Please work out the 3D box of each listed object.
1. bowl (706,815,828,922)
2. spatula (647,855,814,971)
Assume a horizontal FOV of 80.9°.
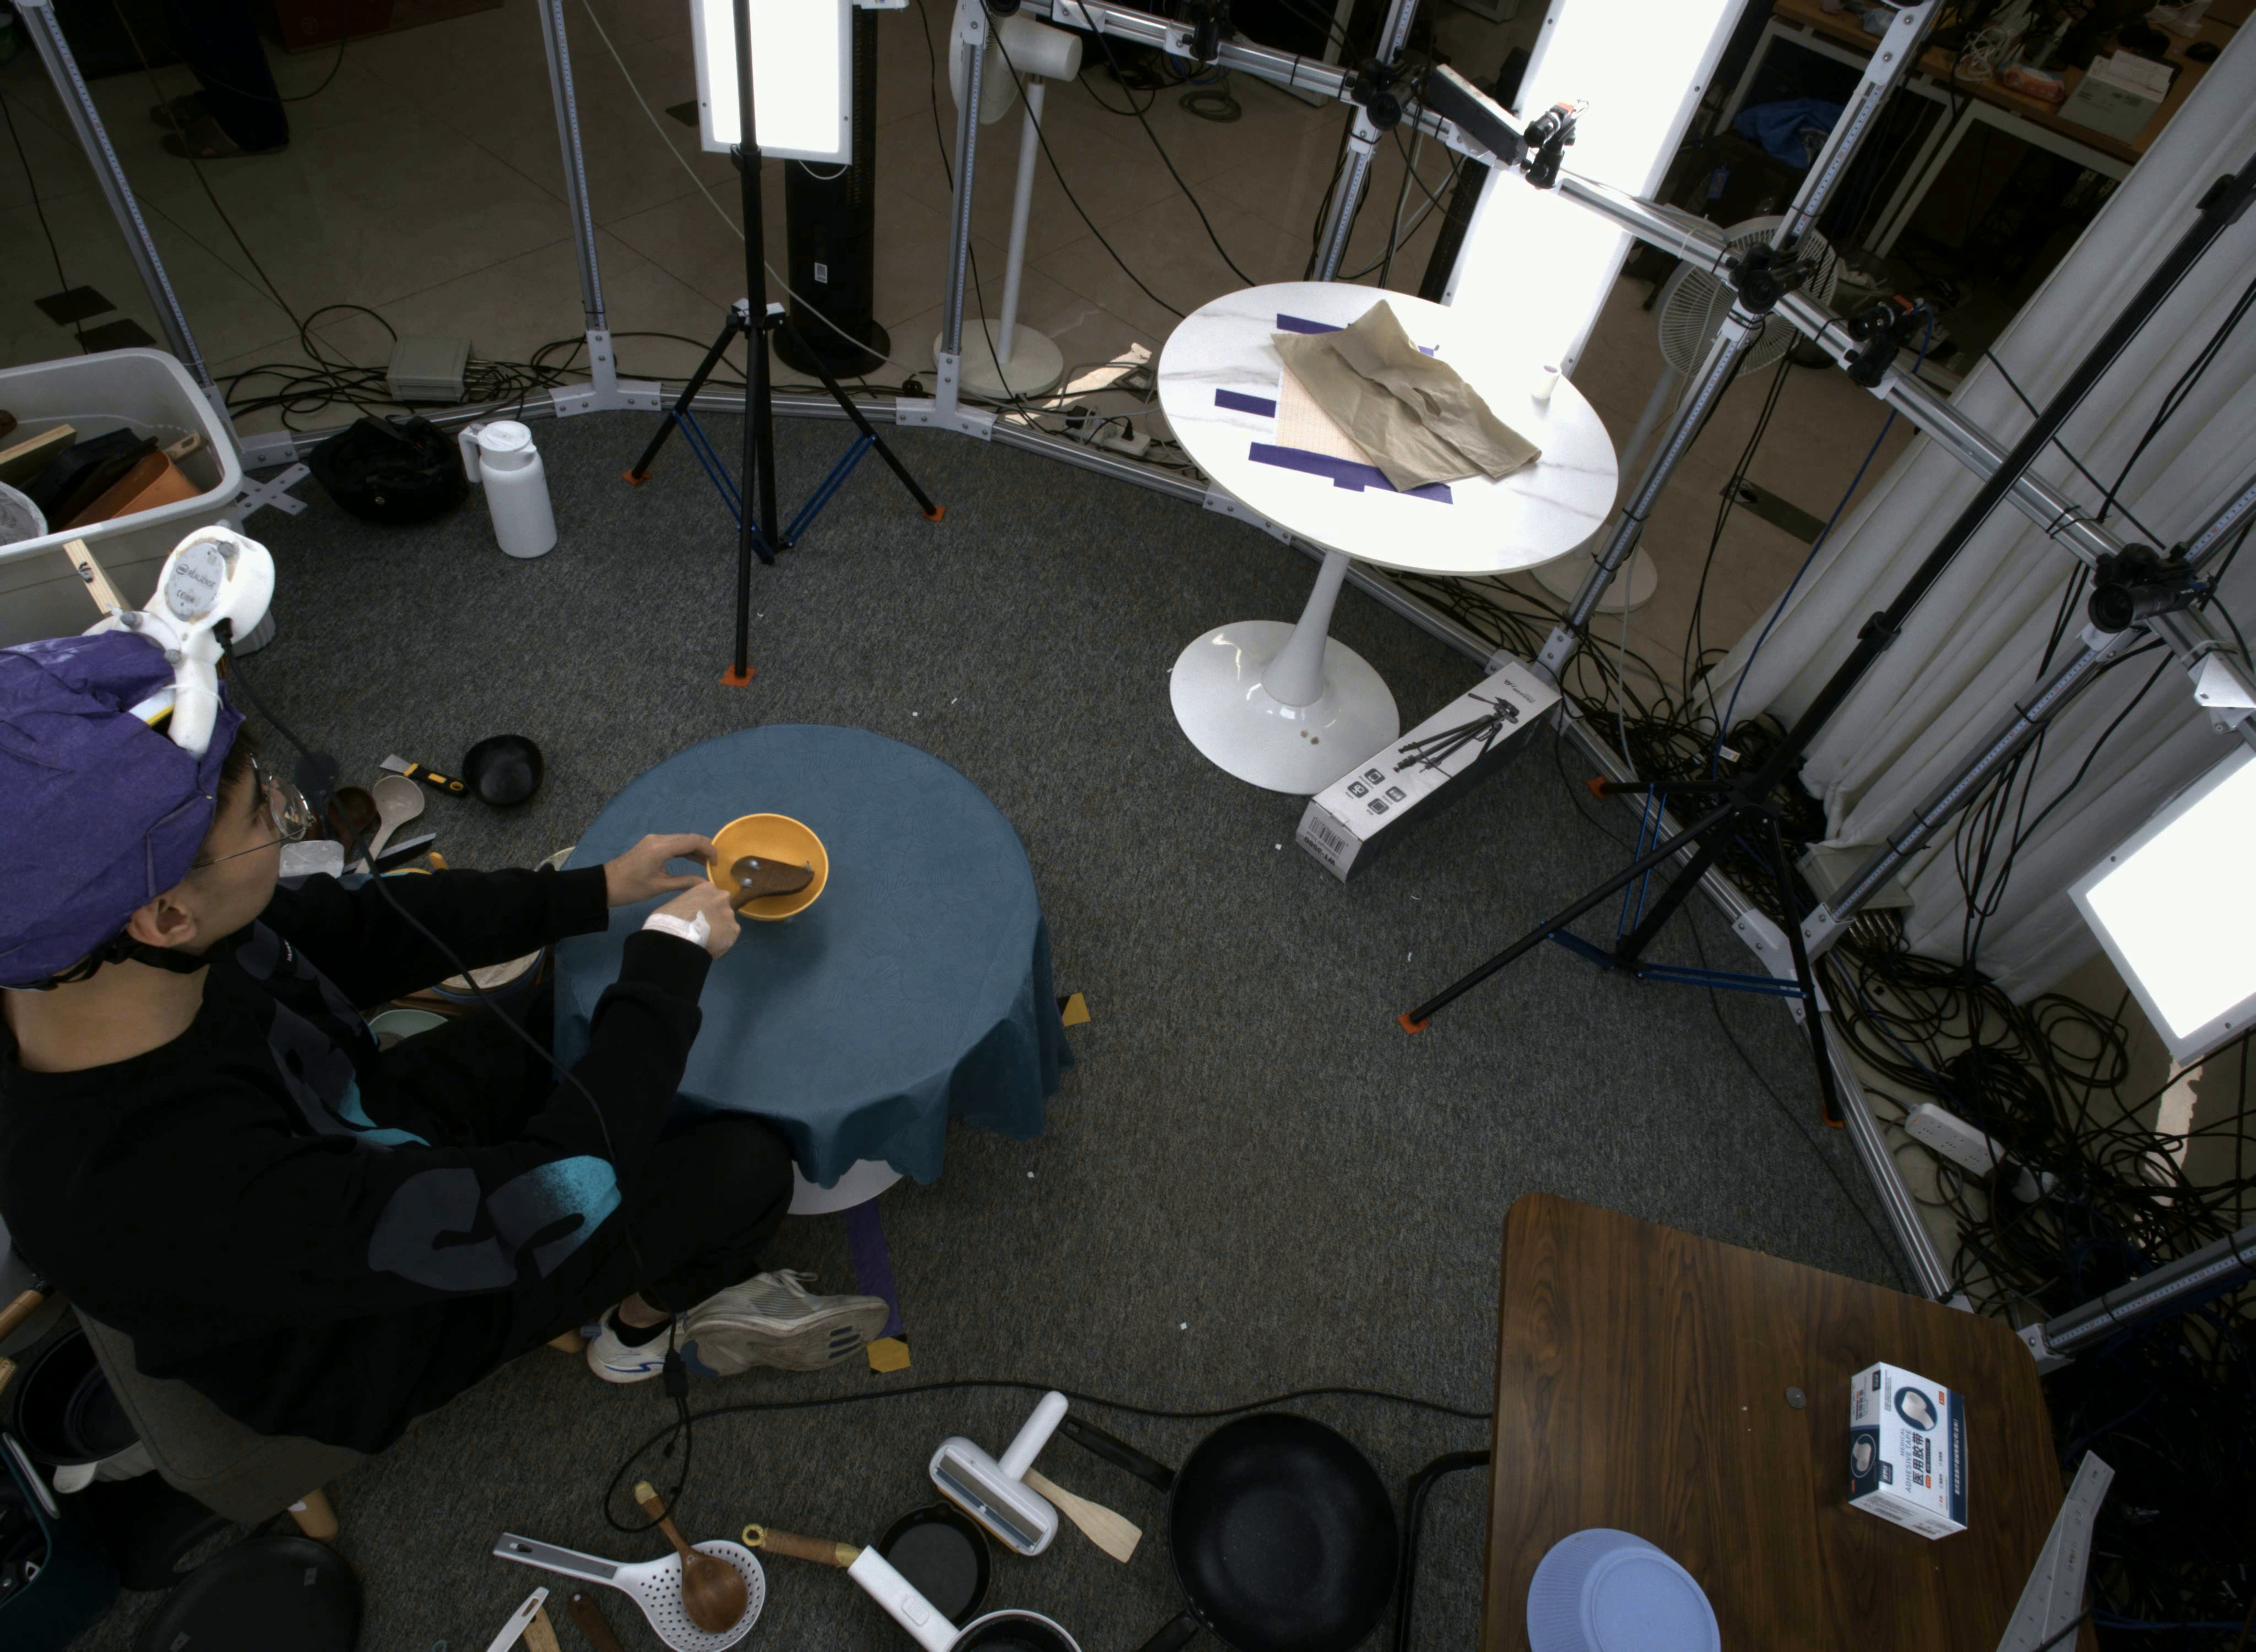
[{"bbox_3d":[-0.442,0.061,1.585,0.146,0.061,0.143,11,55,-14],"label":"bowl"},{"bbox_3d":[-0.439,0.088,1.409,0.095,0.016,0.382,15,13,0],"label":"spatula"}]
